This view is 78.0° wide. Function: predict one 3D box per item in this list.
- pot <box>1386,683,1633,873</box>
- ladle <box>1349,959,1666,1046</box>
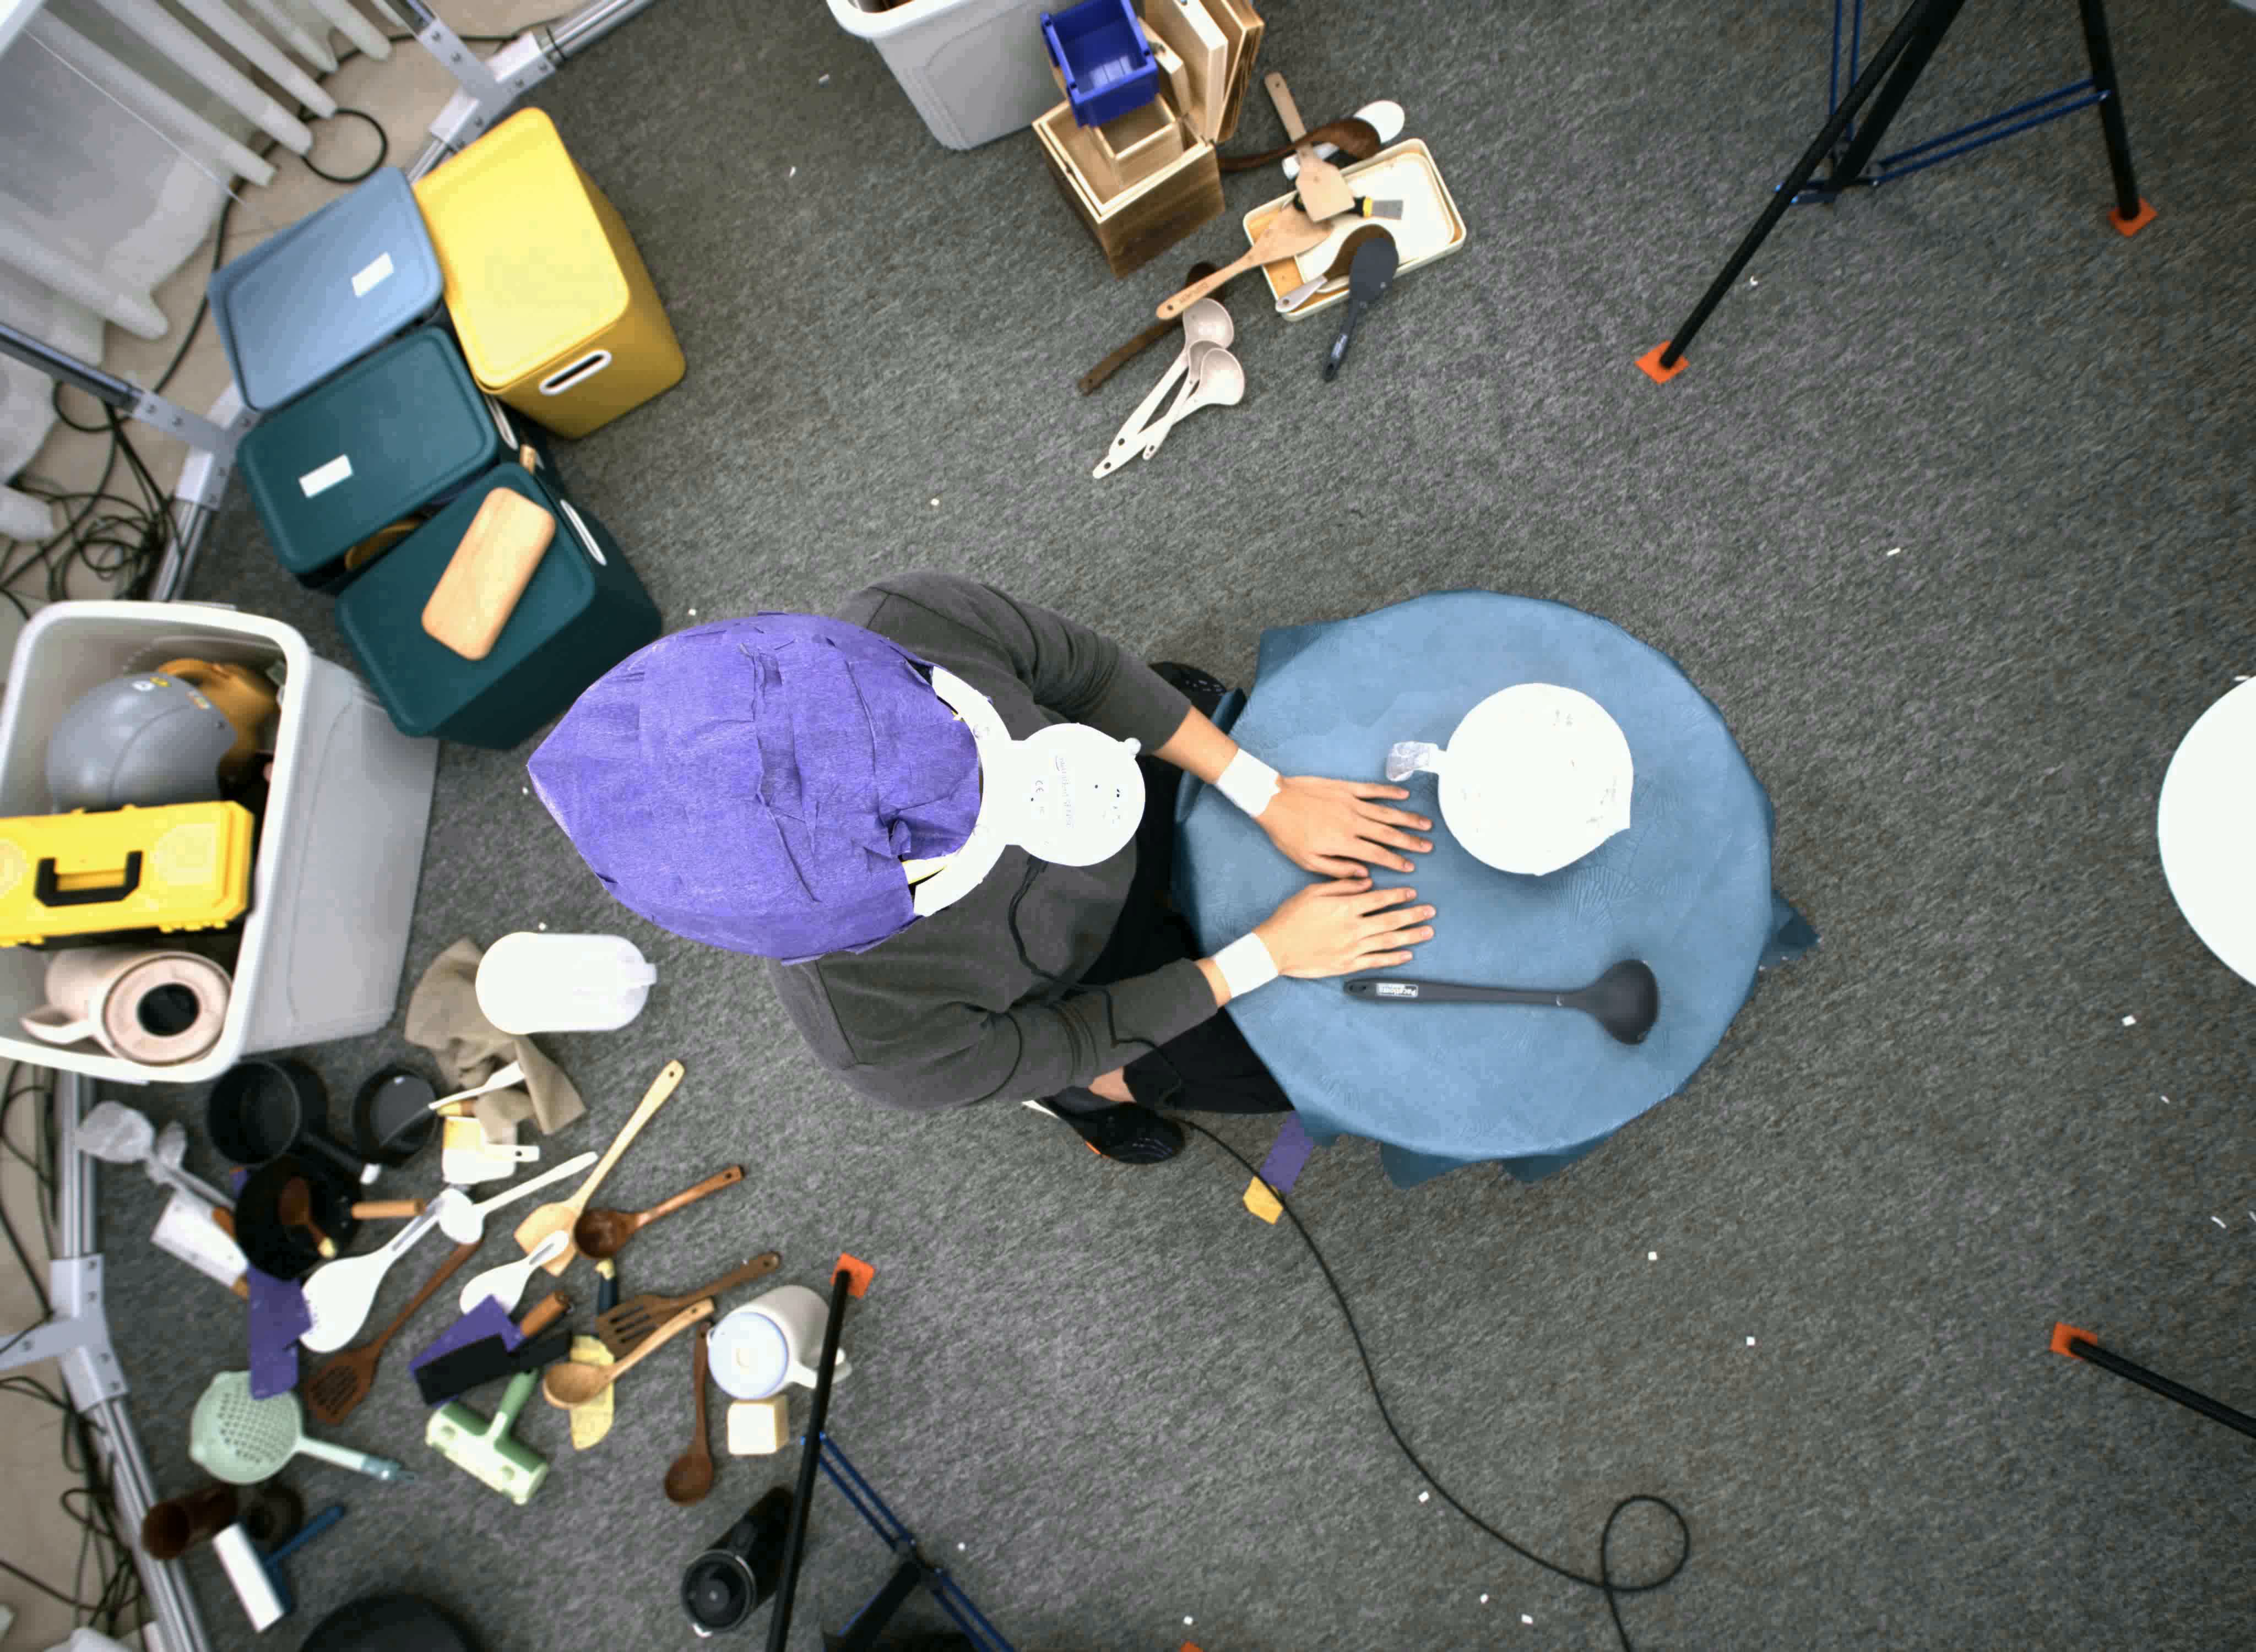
[{"bbox_3d":[0.376,-0.050,1.378,0.234,0.137,0.178,10,88,11],"label":"pot"},{"bbox_3d":[0.382,0.170,1.401,0.315,0.064,0.085,2,81,11],"label":"ladle"}]
